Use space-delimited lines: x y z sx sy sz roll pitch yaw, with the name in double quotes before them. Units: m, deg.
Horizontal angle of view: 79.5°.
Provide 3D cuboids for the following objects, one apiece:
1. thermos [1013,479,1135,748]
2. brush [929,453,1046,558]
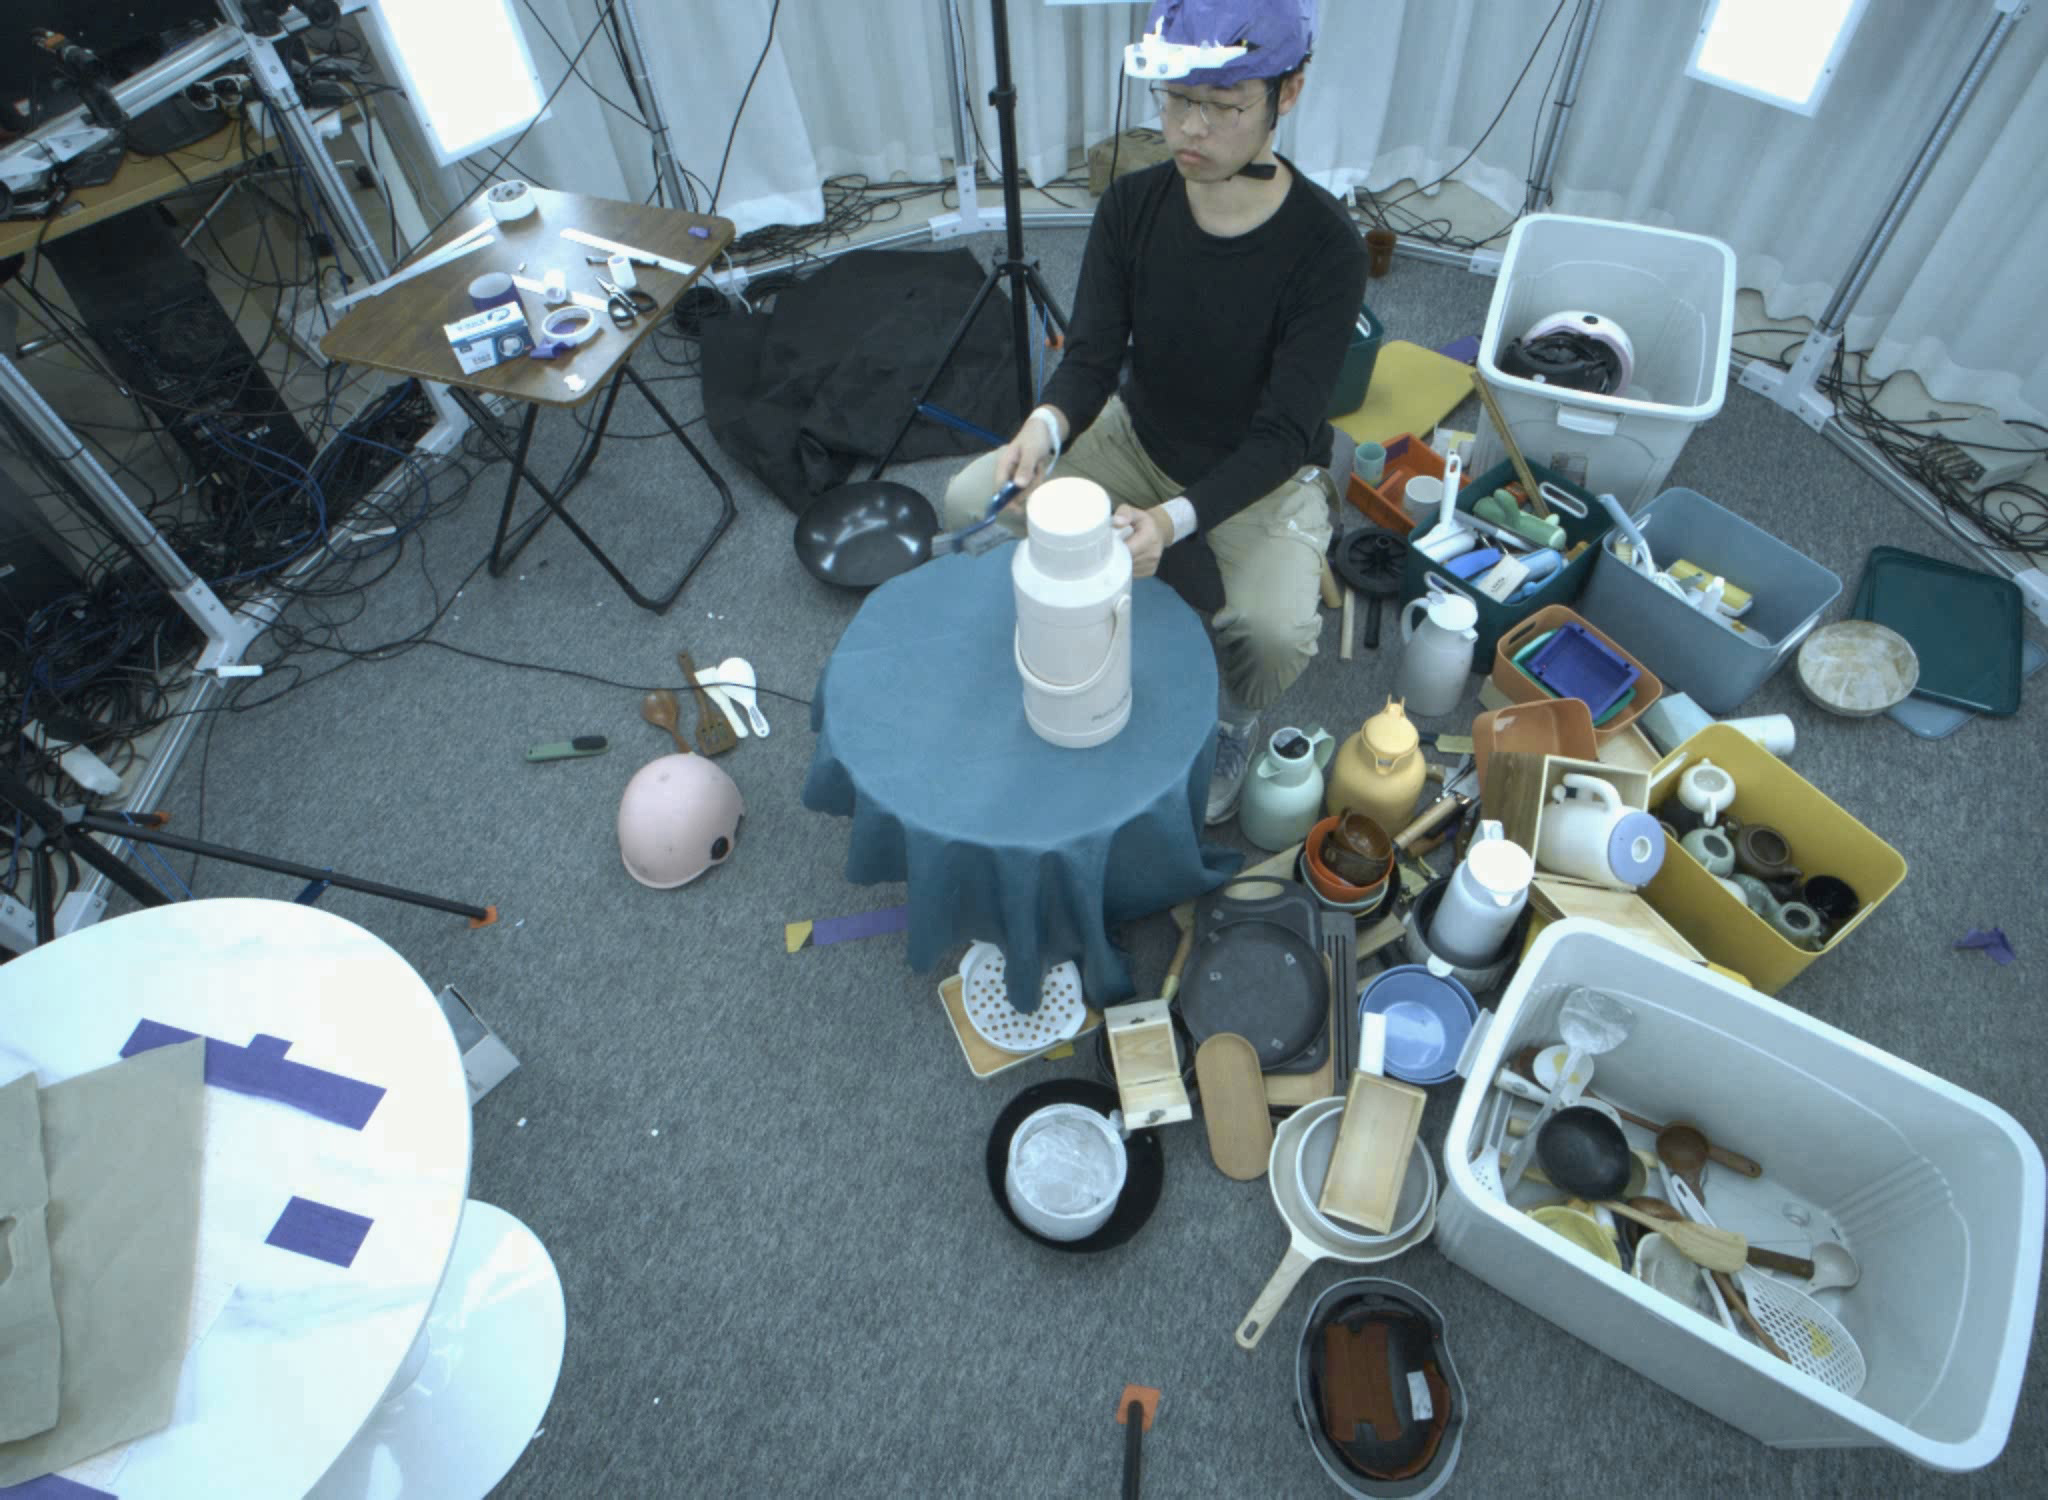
"thermos" 0.080 -0.190 1.675 0.172 0.411 0.208 31 63 25
"brush" -0.042 -0.341 1.679 0.095 0.034 0.273 14 42 10
